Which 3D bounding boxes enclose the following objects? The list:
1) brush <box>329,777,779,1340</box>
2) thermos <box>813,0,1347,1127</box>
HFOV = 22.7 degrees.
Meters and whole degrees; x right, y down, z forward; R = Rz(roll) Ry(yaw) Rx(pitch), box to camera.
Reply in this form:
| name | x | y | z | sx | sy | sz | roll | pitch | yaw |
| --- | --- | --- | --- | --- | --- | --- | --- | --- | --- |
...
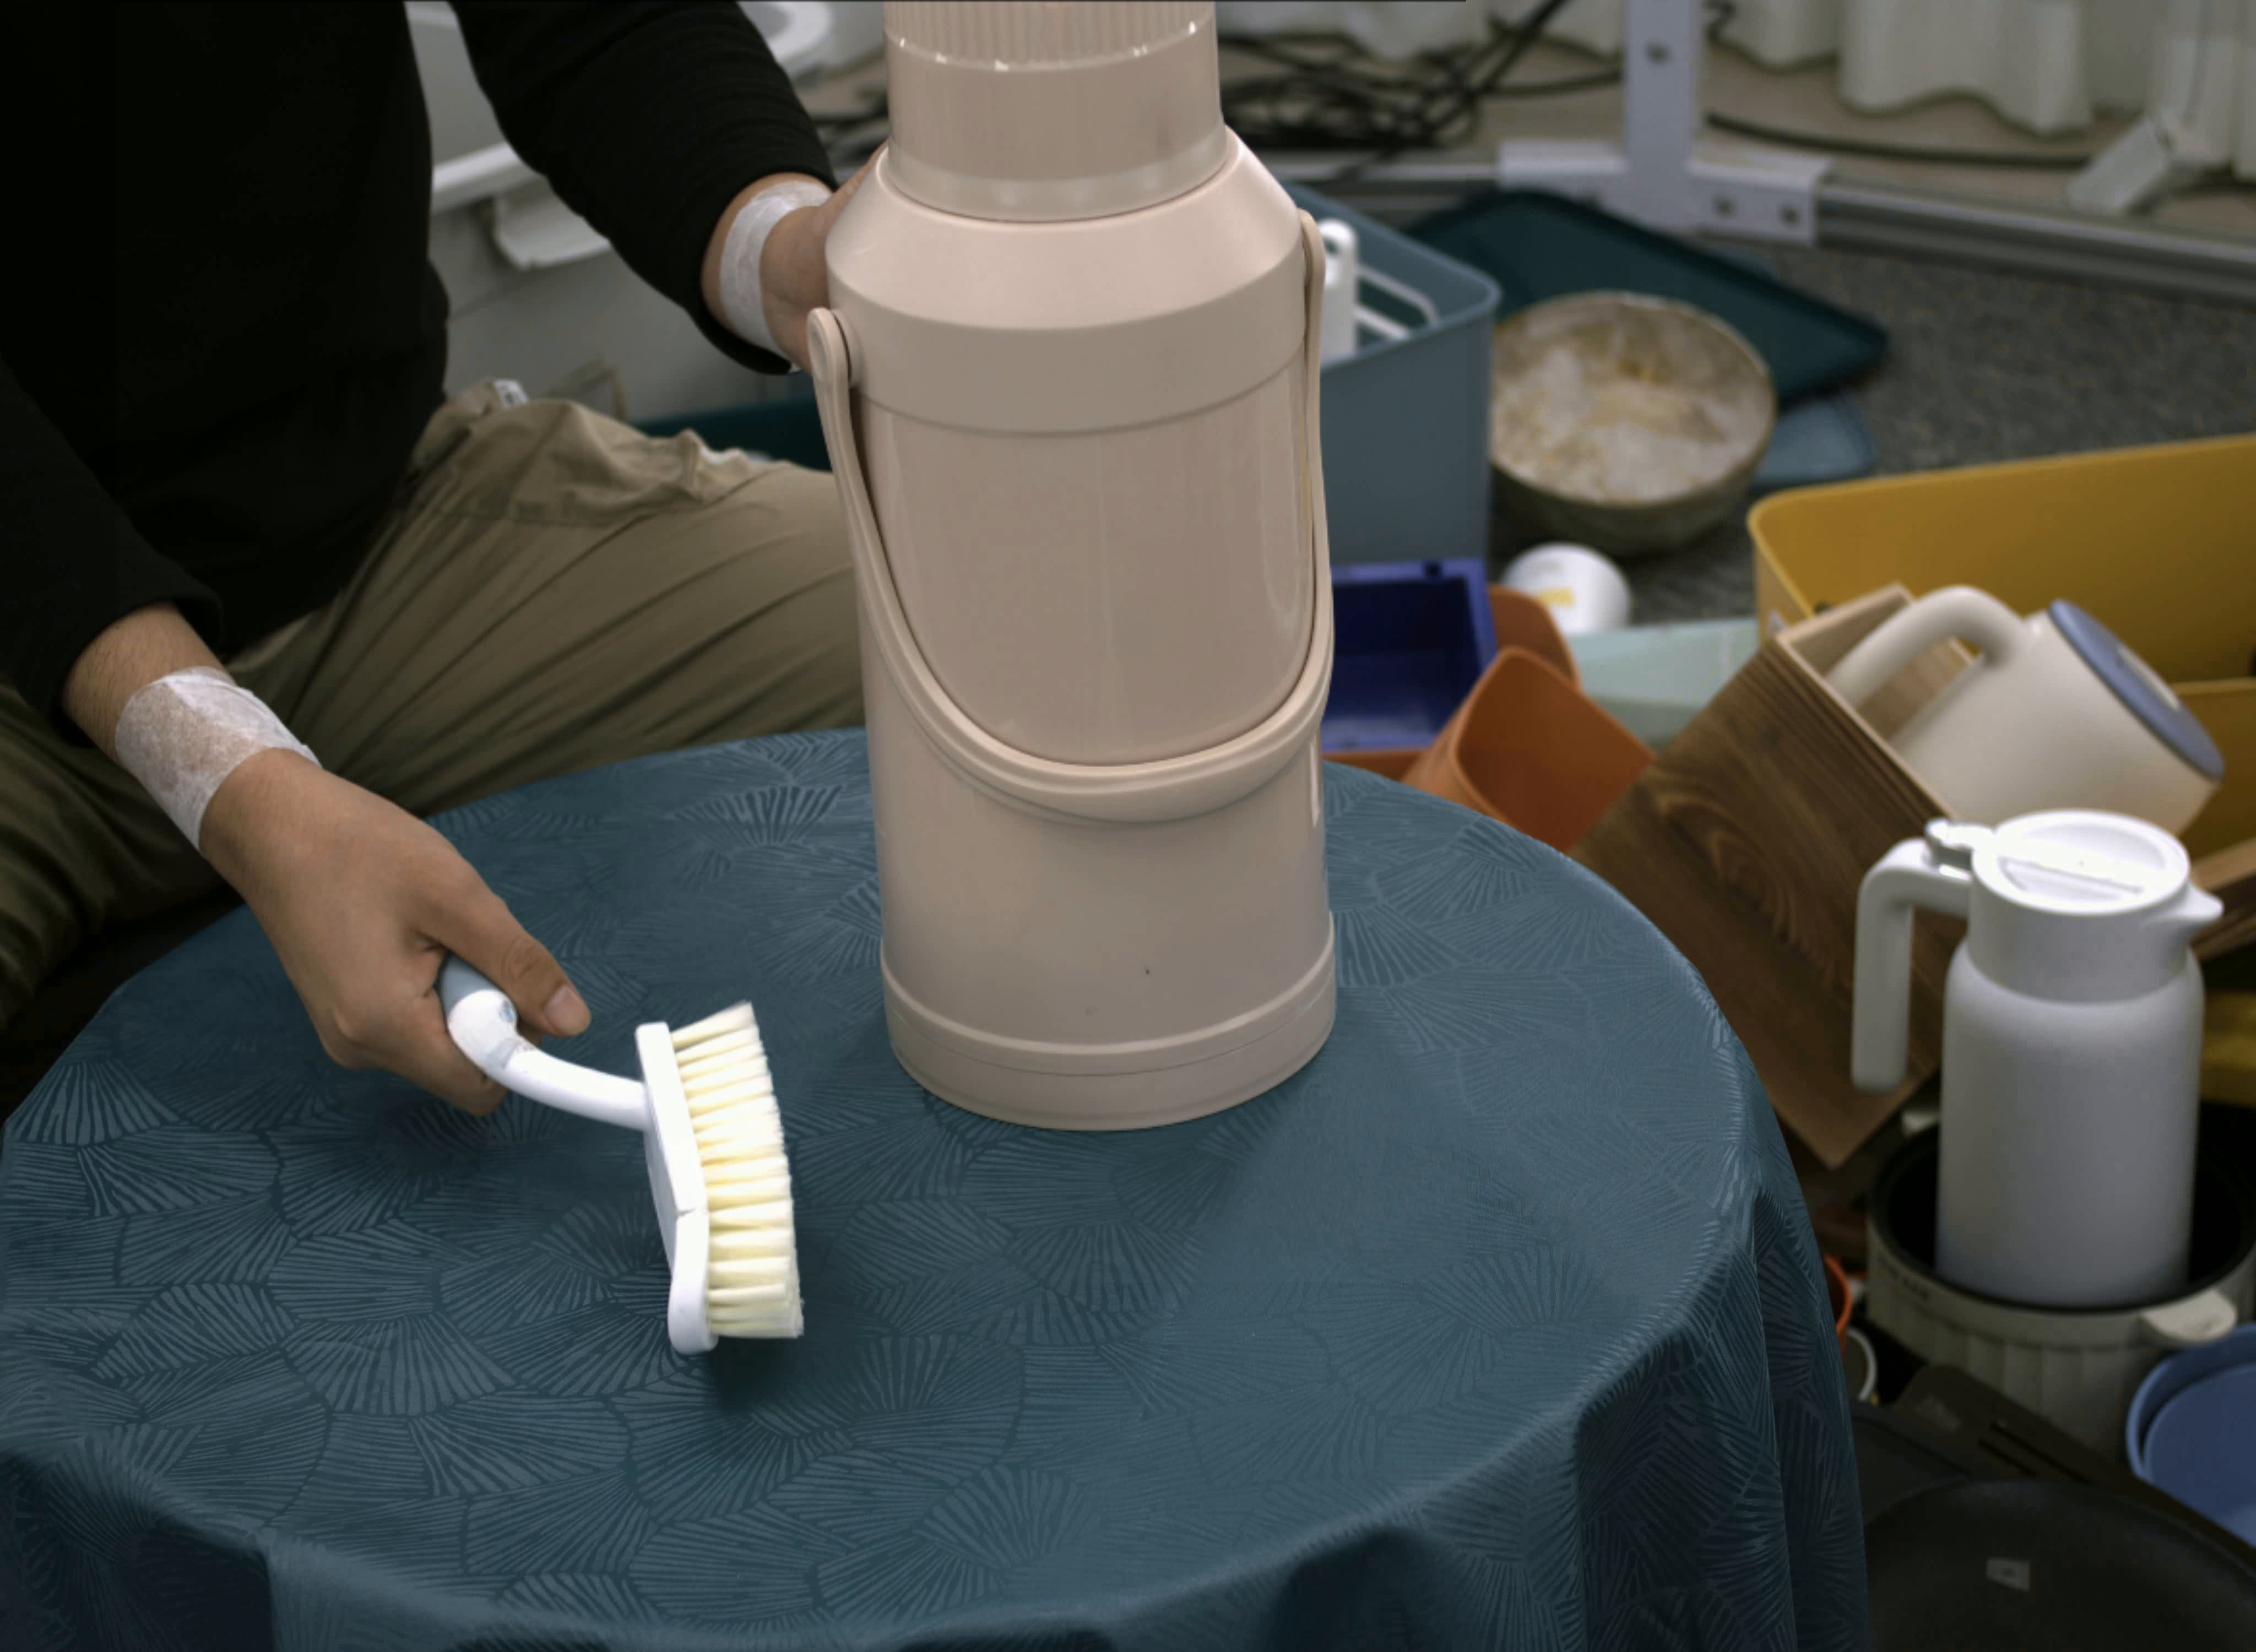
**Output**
| name | x | y | z | sx | sy | sz | roll | pitch | yaw |
| --- | --- | --- | --- | --- | --- | --- | --- | --- | --- |
| brush | -0.174 | 0.061 | 1.866 | 0.084 | 0.082 | 0.328 | 24 | 17 | -37 |
| thermos | -0.018 | -0.115 | 1.895 | 0.176 | 0.402 | 0.208 | -15 | 29 | -19 |
